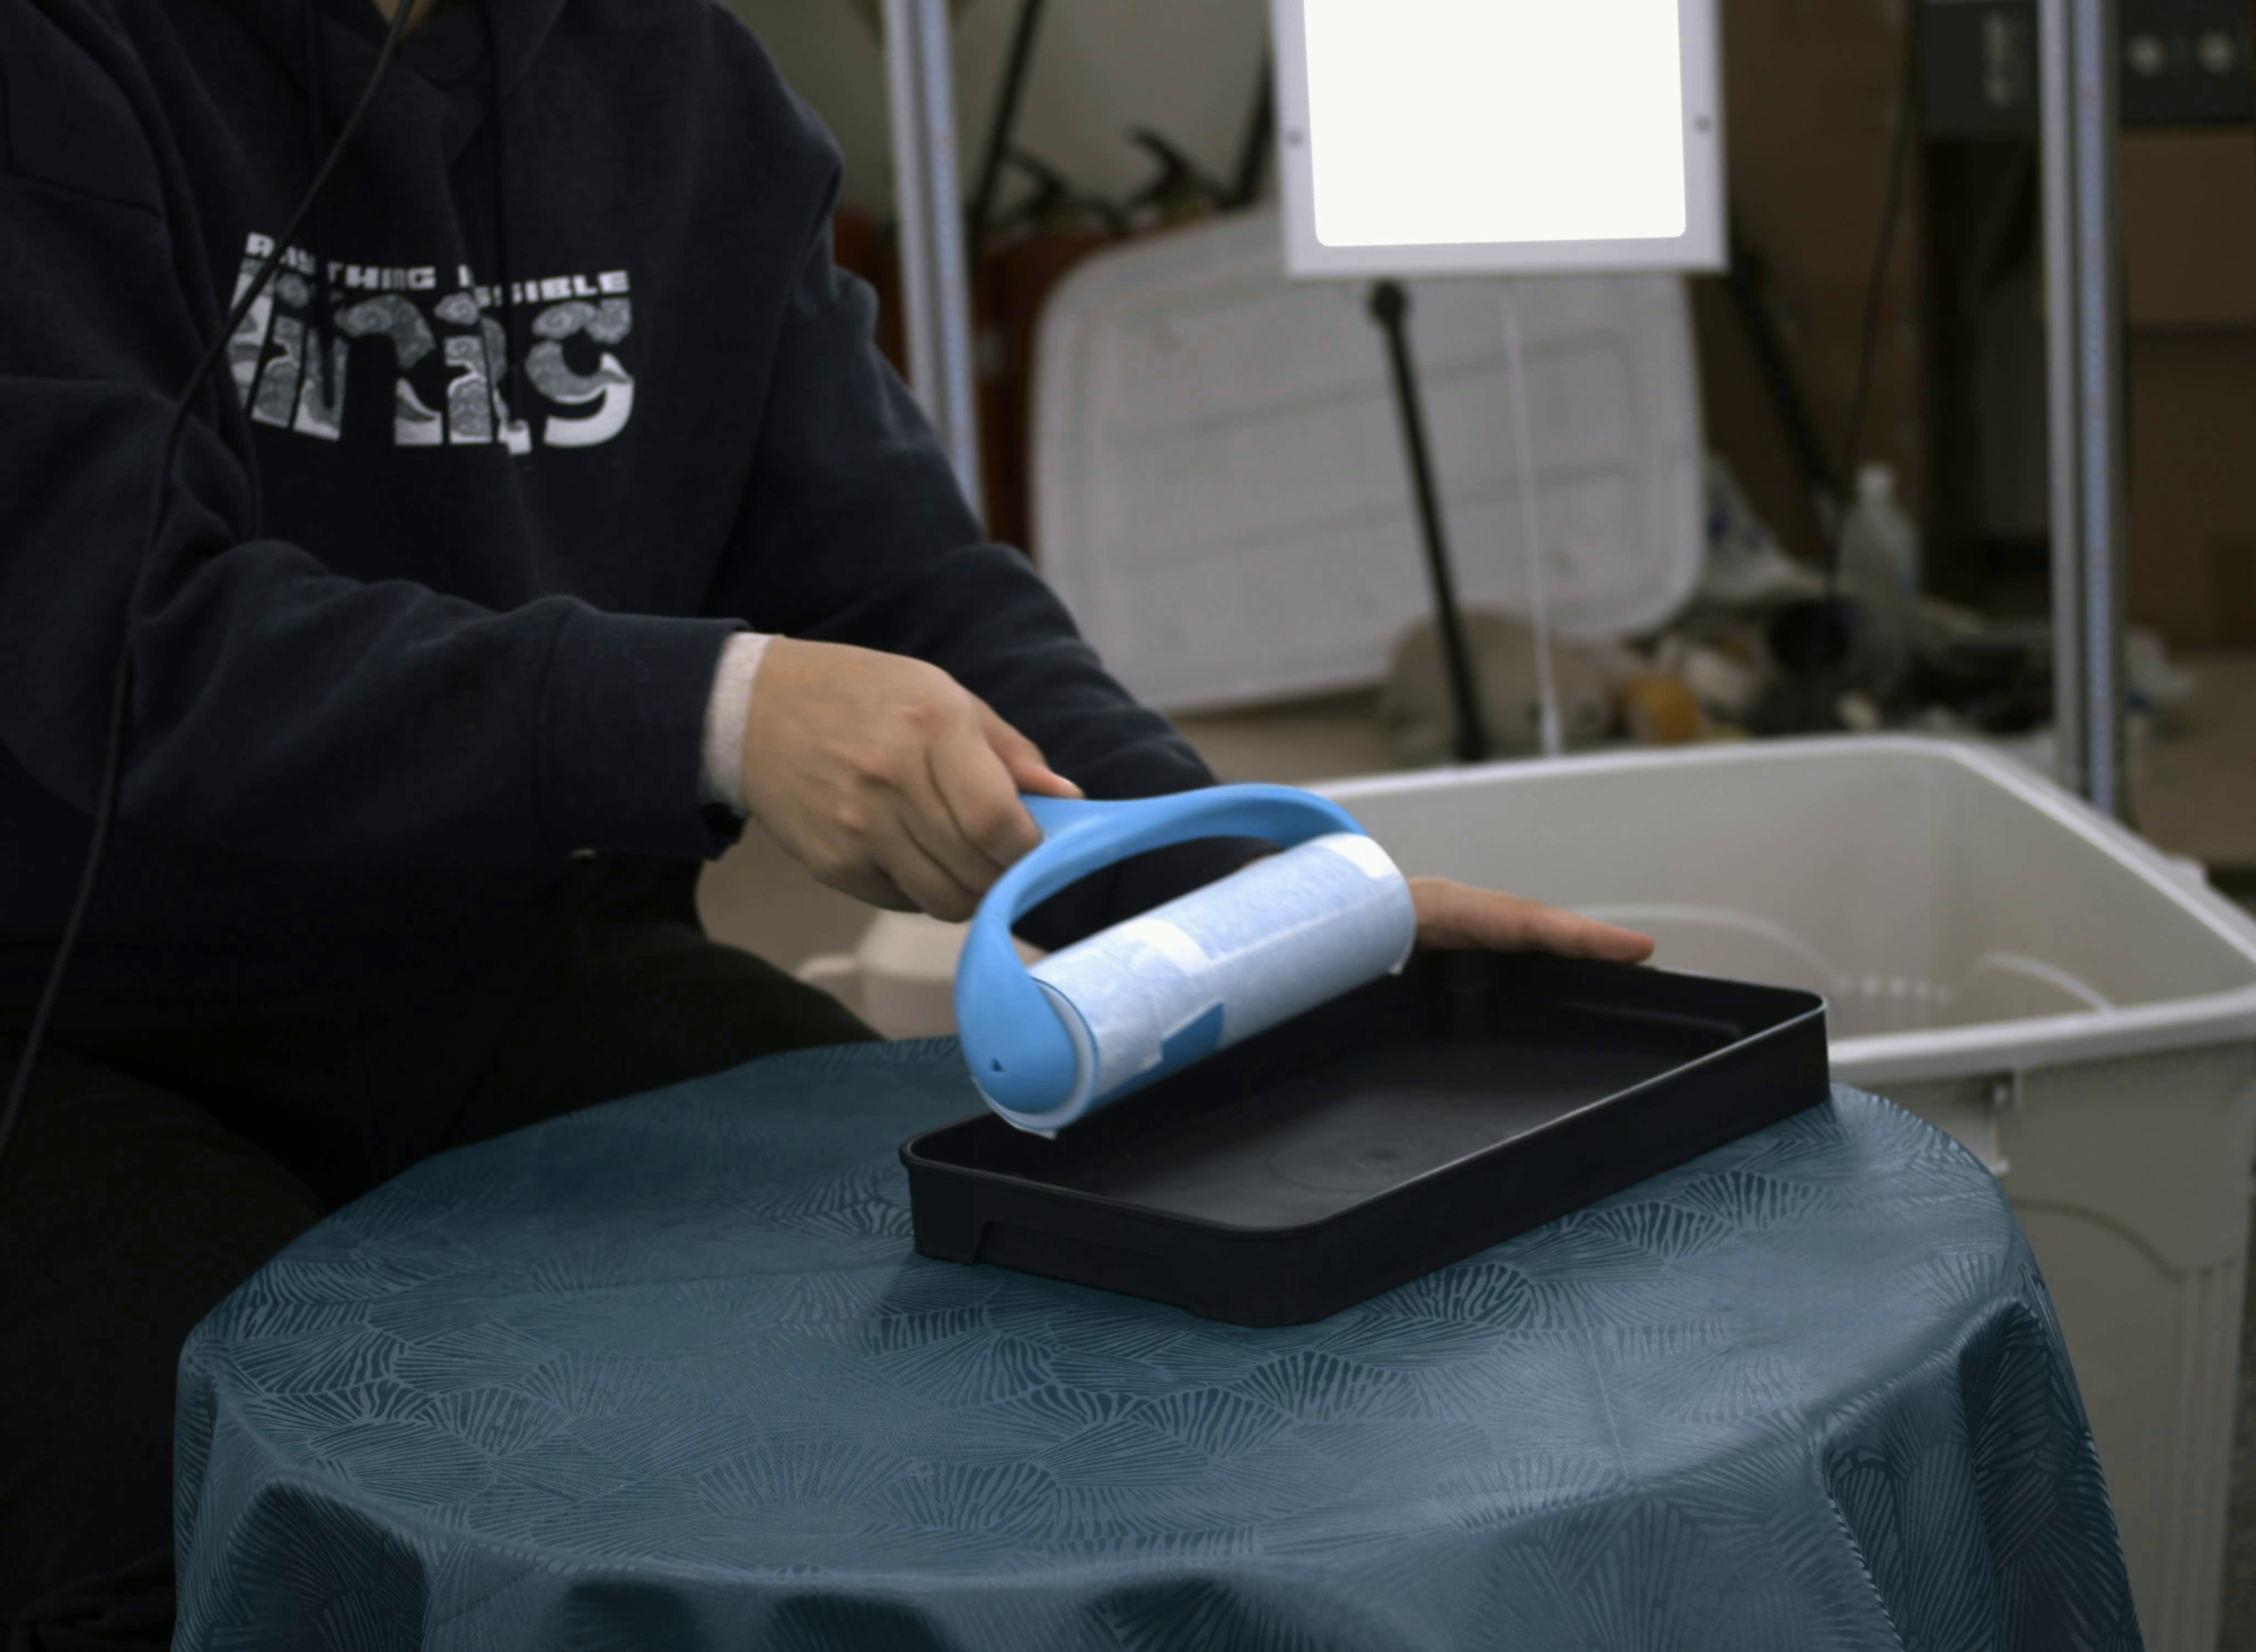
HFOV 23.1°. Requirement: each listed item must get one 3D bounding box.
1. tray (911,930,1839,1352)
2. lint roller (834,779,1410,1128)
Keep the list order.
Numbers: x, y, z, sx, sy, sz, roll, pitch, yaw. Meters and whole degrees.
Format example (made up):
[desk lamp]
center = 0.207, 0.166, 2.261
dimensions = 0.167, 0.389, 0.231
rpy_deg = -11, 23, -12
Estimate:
[tray]
center = 0.091, 0.103, 1.901
dimensions = 0.188, 0.037, 0.310
rpy_deg = 8, 21, 43
[lint roller]
center = -0.025, 0.022, 1.880
dimensions = 0.183, 0.068, 0.223
rpy_deg = 29, 32, 26
